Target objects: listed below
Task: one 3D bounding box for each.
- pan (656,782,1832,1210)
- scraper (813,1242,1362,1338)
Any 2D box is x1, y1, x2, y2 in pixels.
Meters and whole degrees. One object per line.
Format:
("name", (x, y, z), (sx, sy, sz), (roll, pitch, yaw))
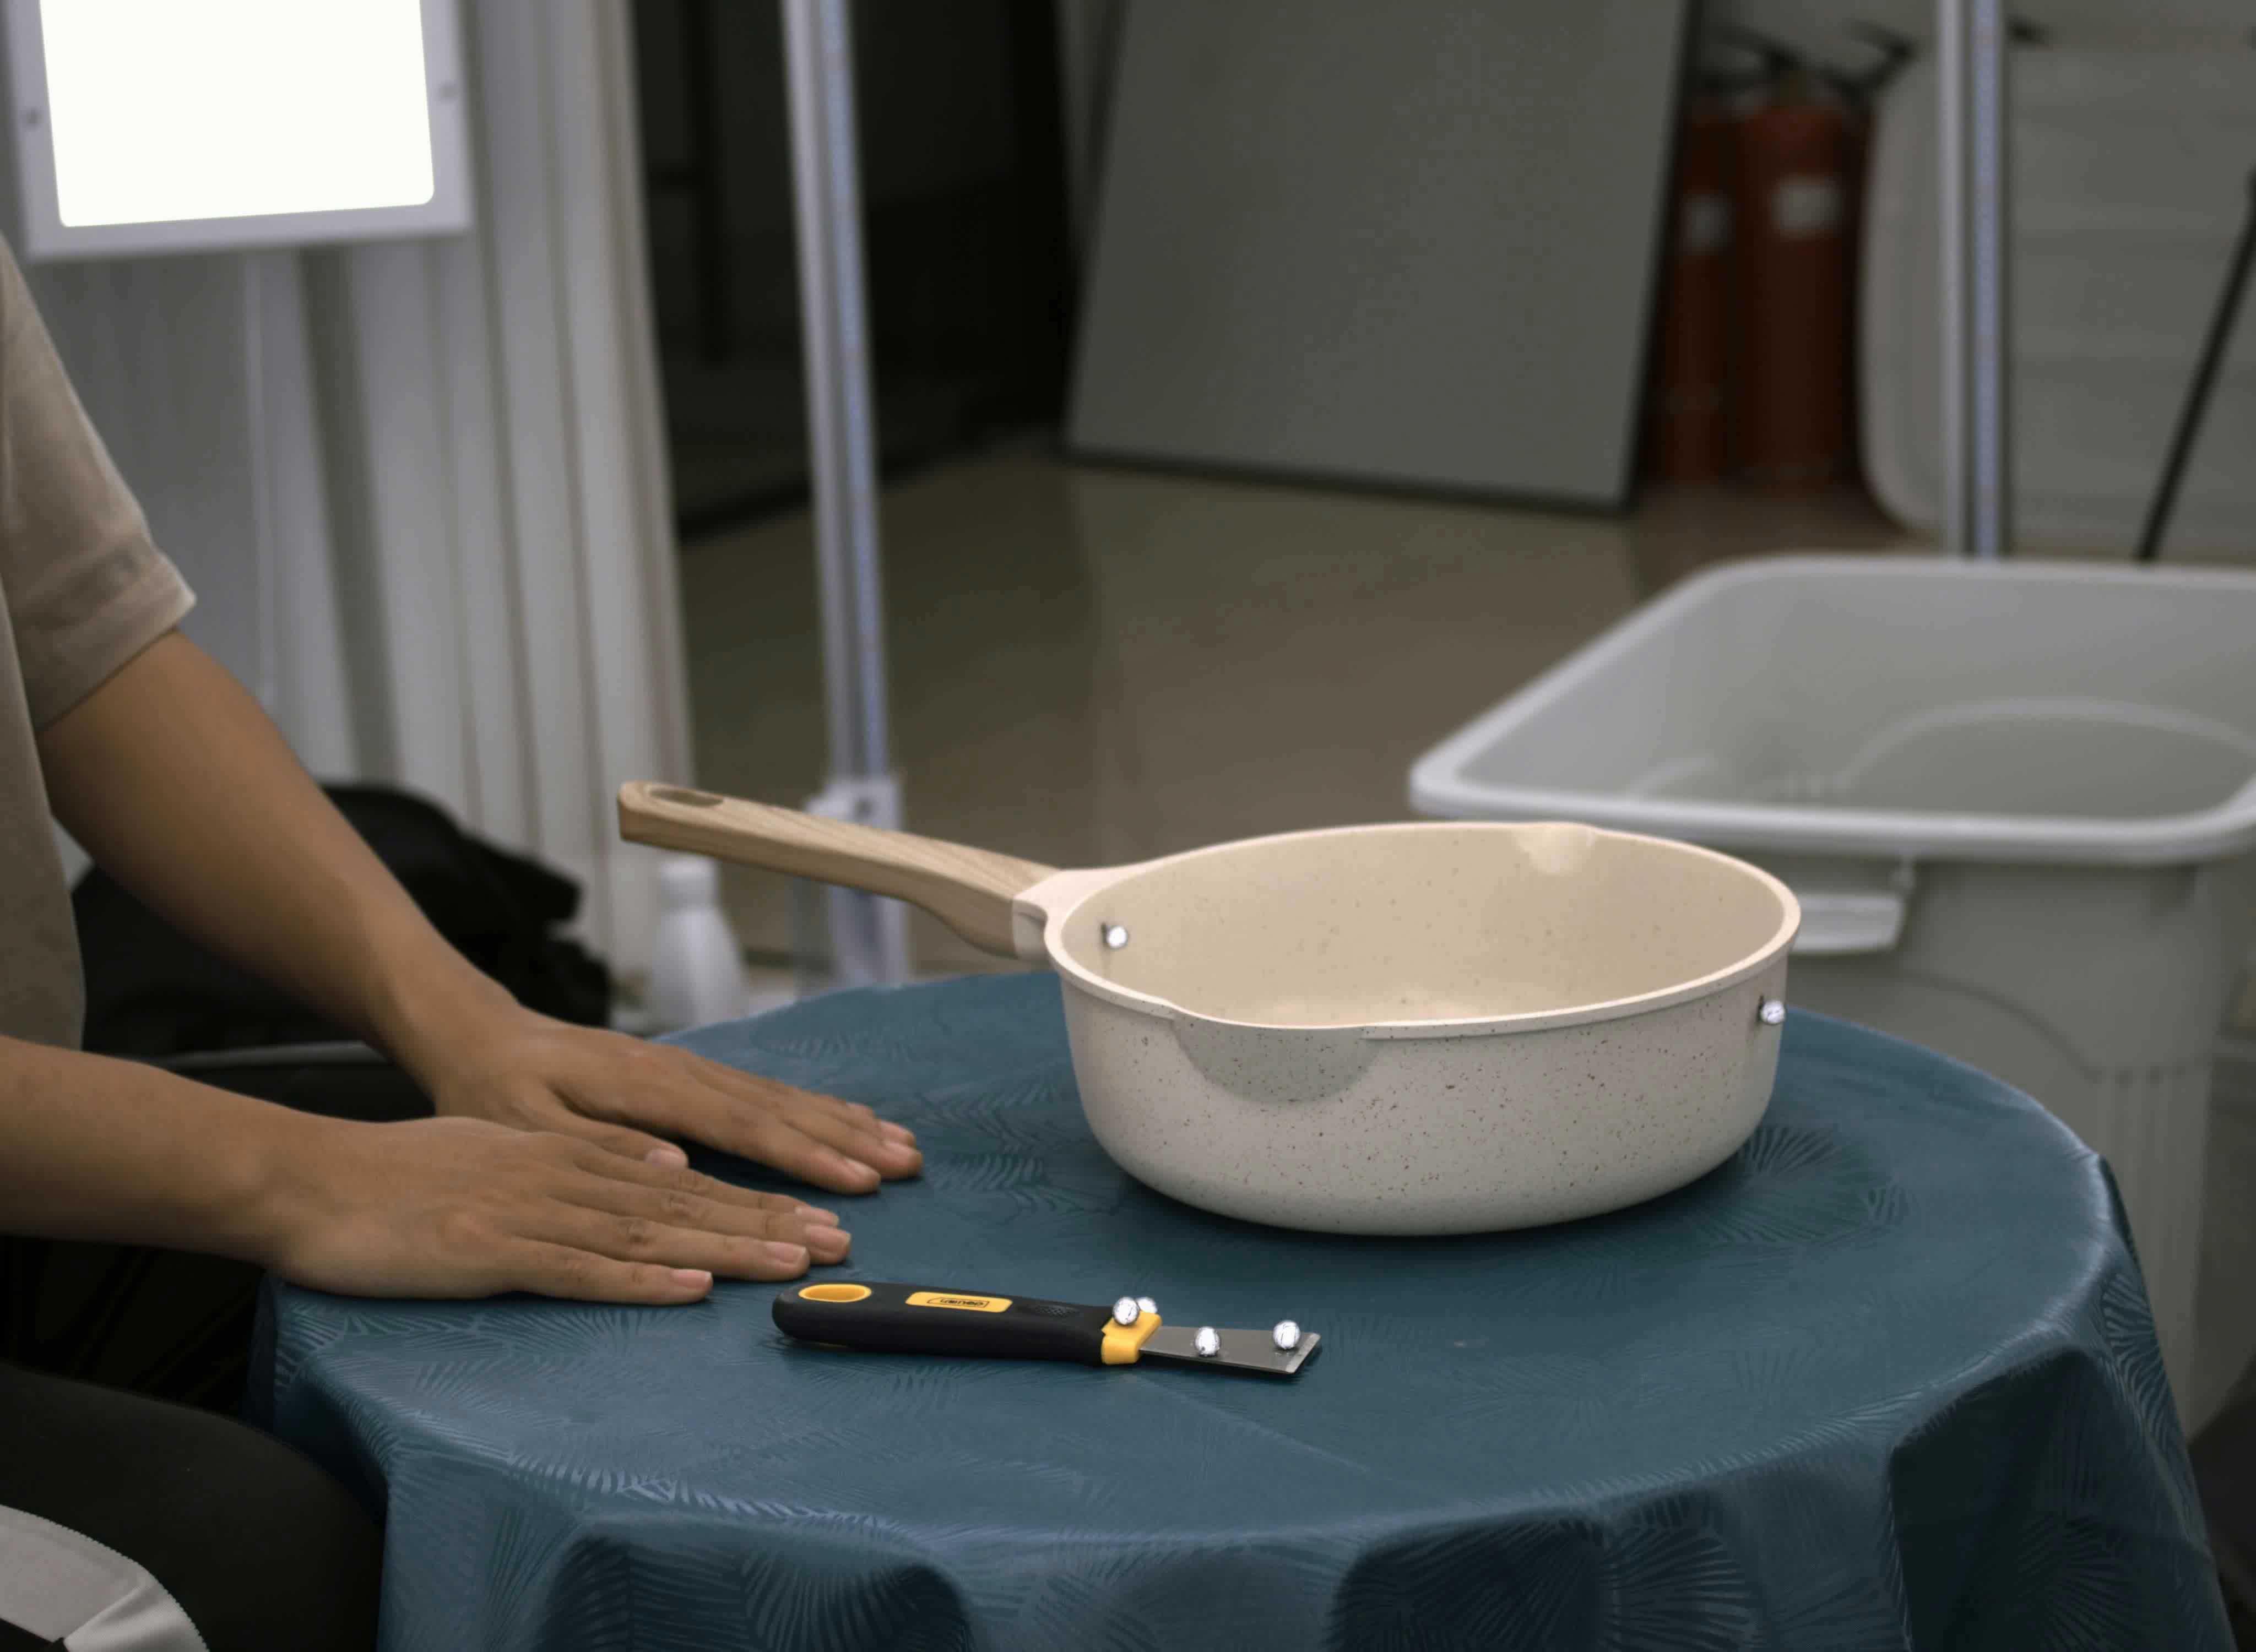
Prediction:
("pan", (0.031, 0.047, 1.848), (0.436, 0.103, 0.260), (3, 17, 28))
("scraper", (-0.014, 0.141, 1.634), (0.170, 0.015, 0.038), (2, 22, 16))
